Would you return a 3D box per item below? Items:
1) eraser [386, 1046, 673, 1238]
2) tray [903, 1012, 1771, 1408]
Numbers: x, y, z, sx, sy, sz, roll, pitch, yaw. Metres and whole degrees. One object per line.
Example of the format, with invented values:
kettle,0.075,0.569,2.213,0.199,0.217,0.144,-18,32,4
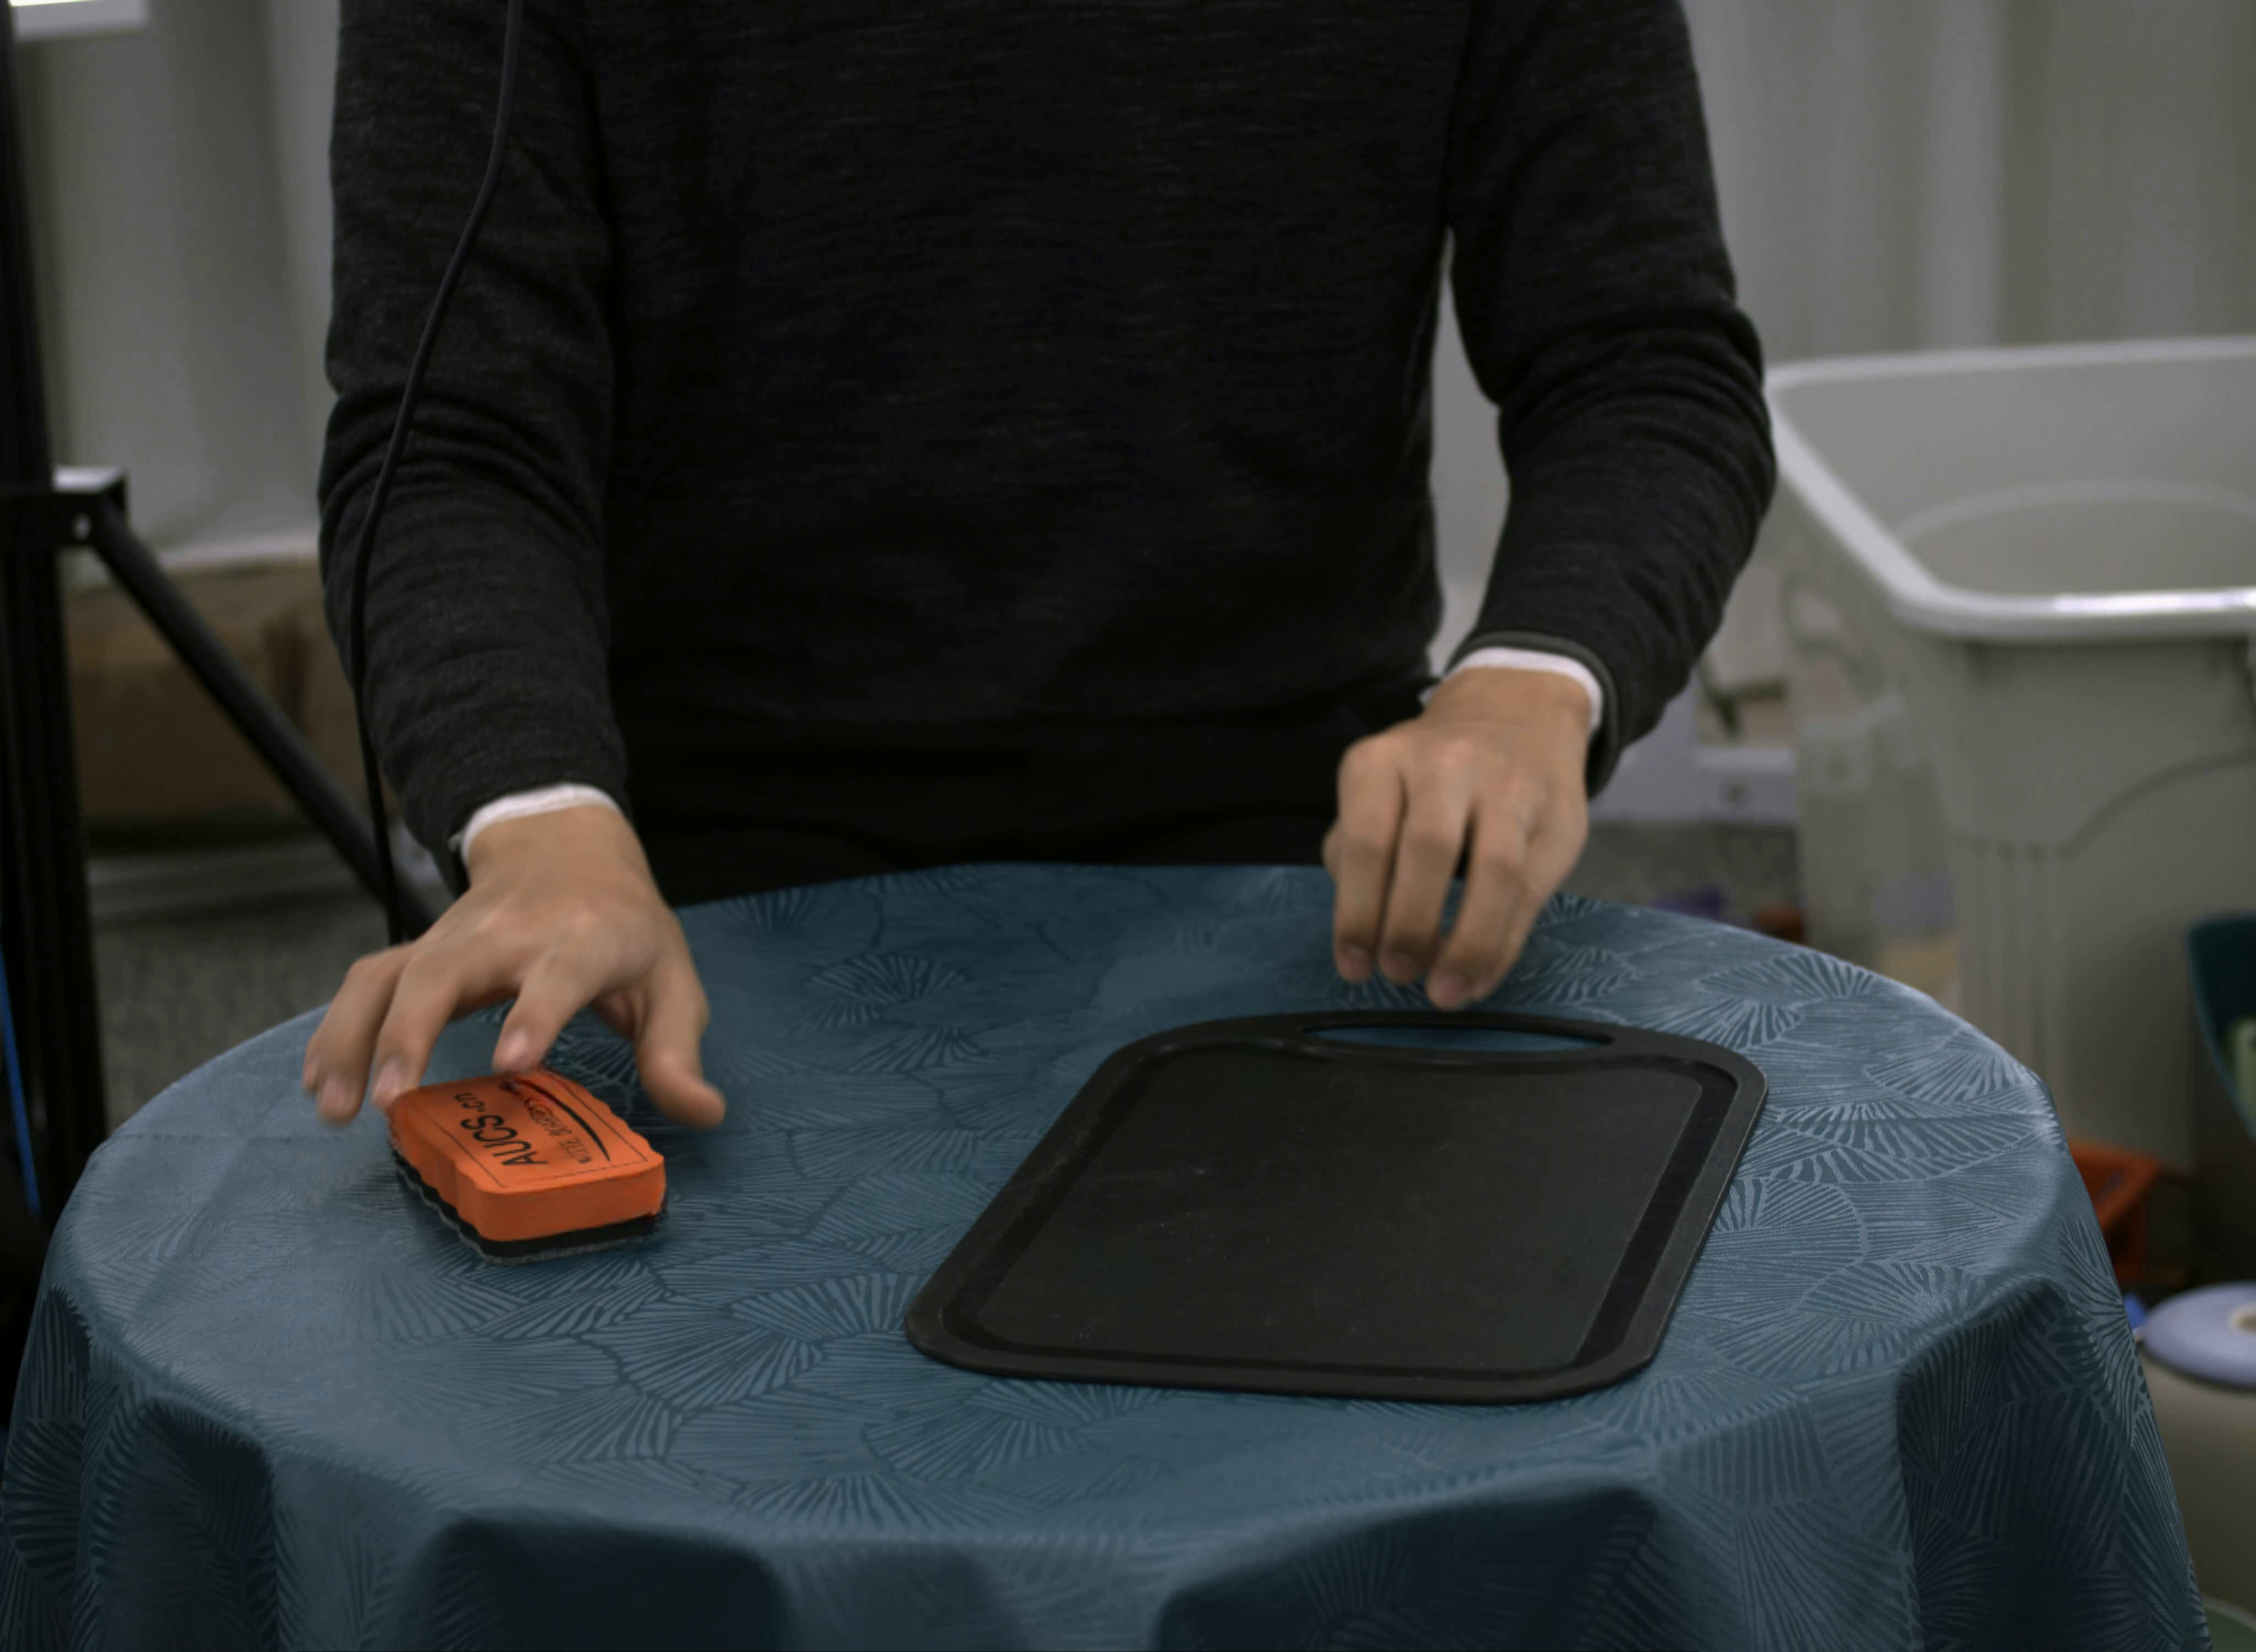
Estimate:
eraser,-0.177,0.092,1.572,0.058,0.023,0.110,-8,16,-23
tray,0.069,0.104,1.549,0.213,0.010,0.322,2,16,16
